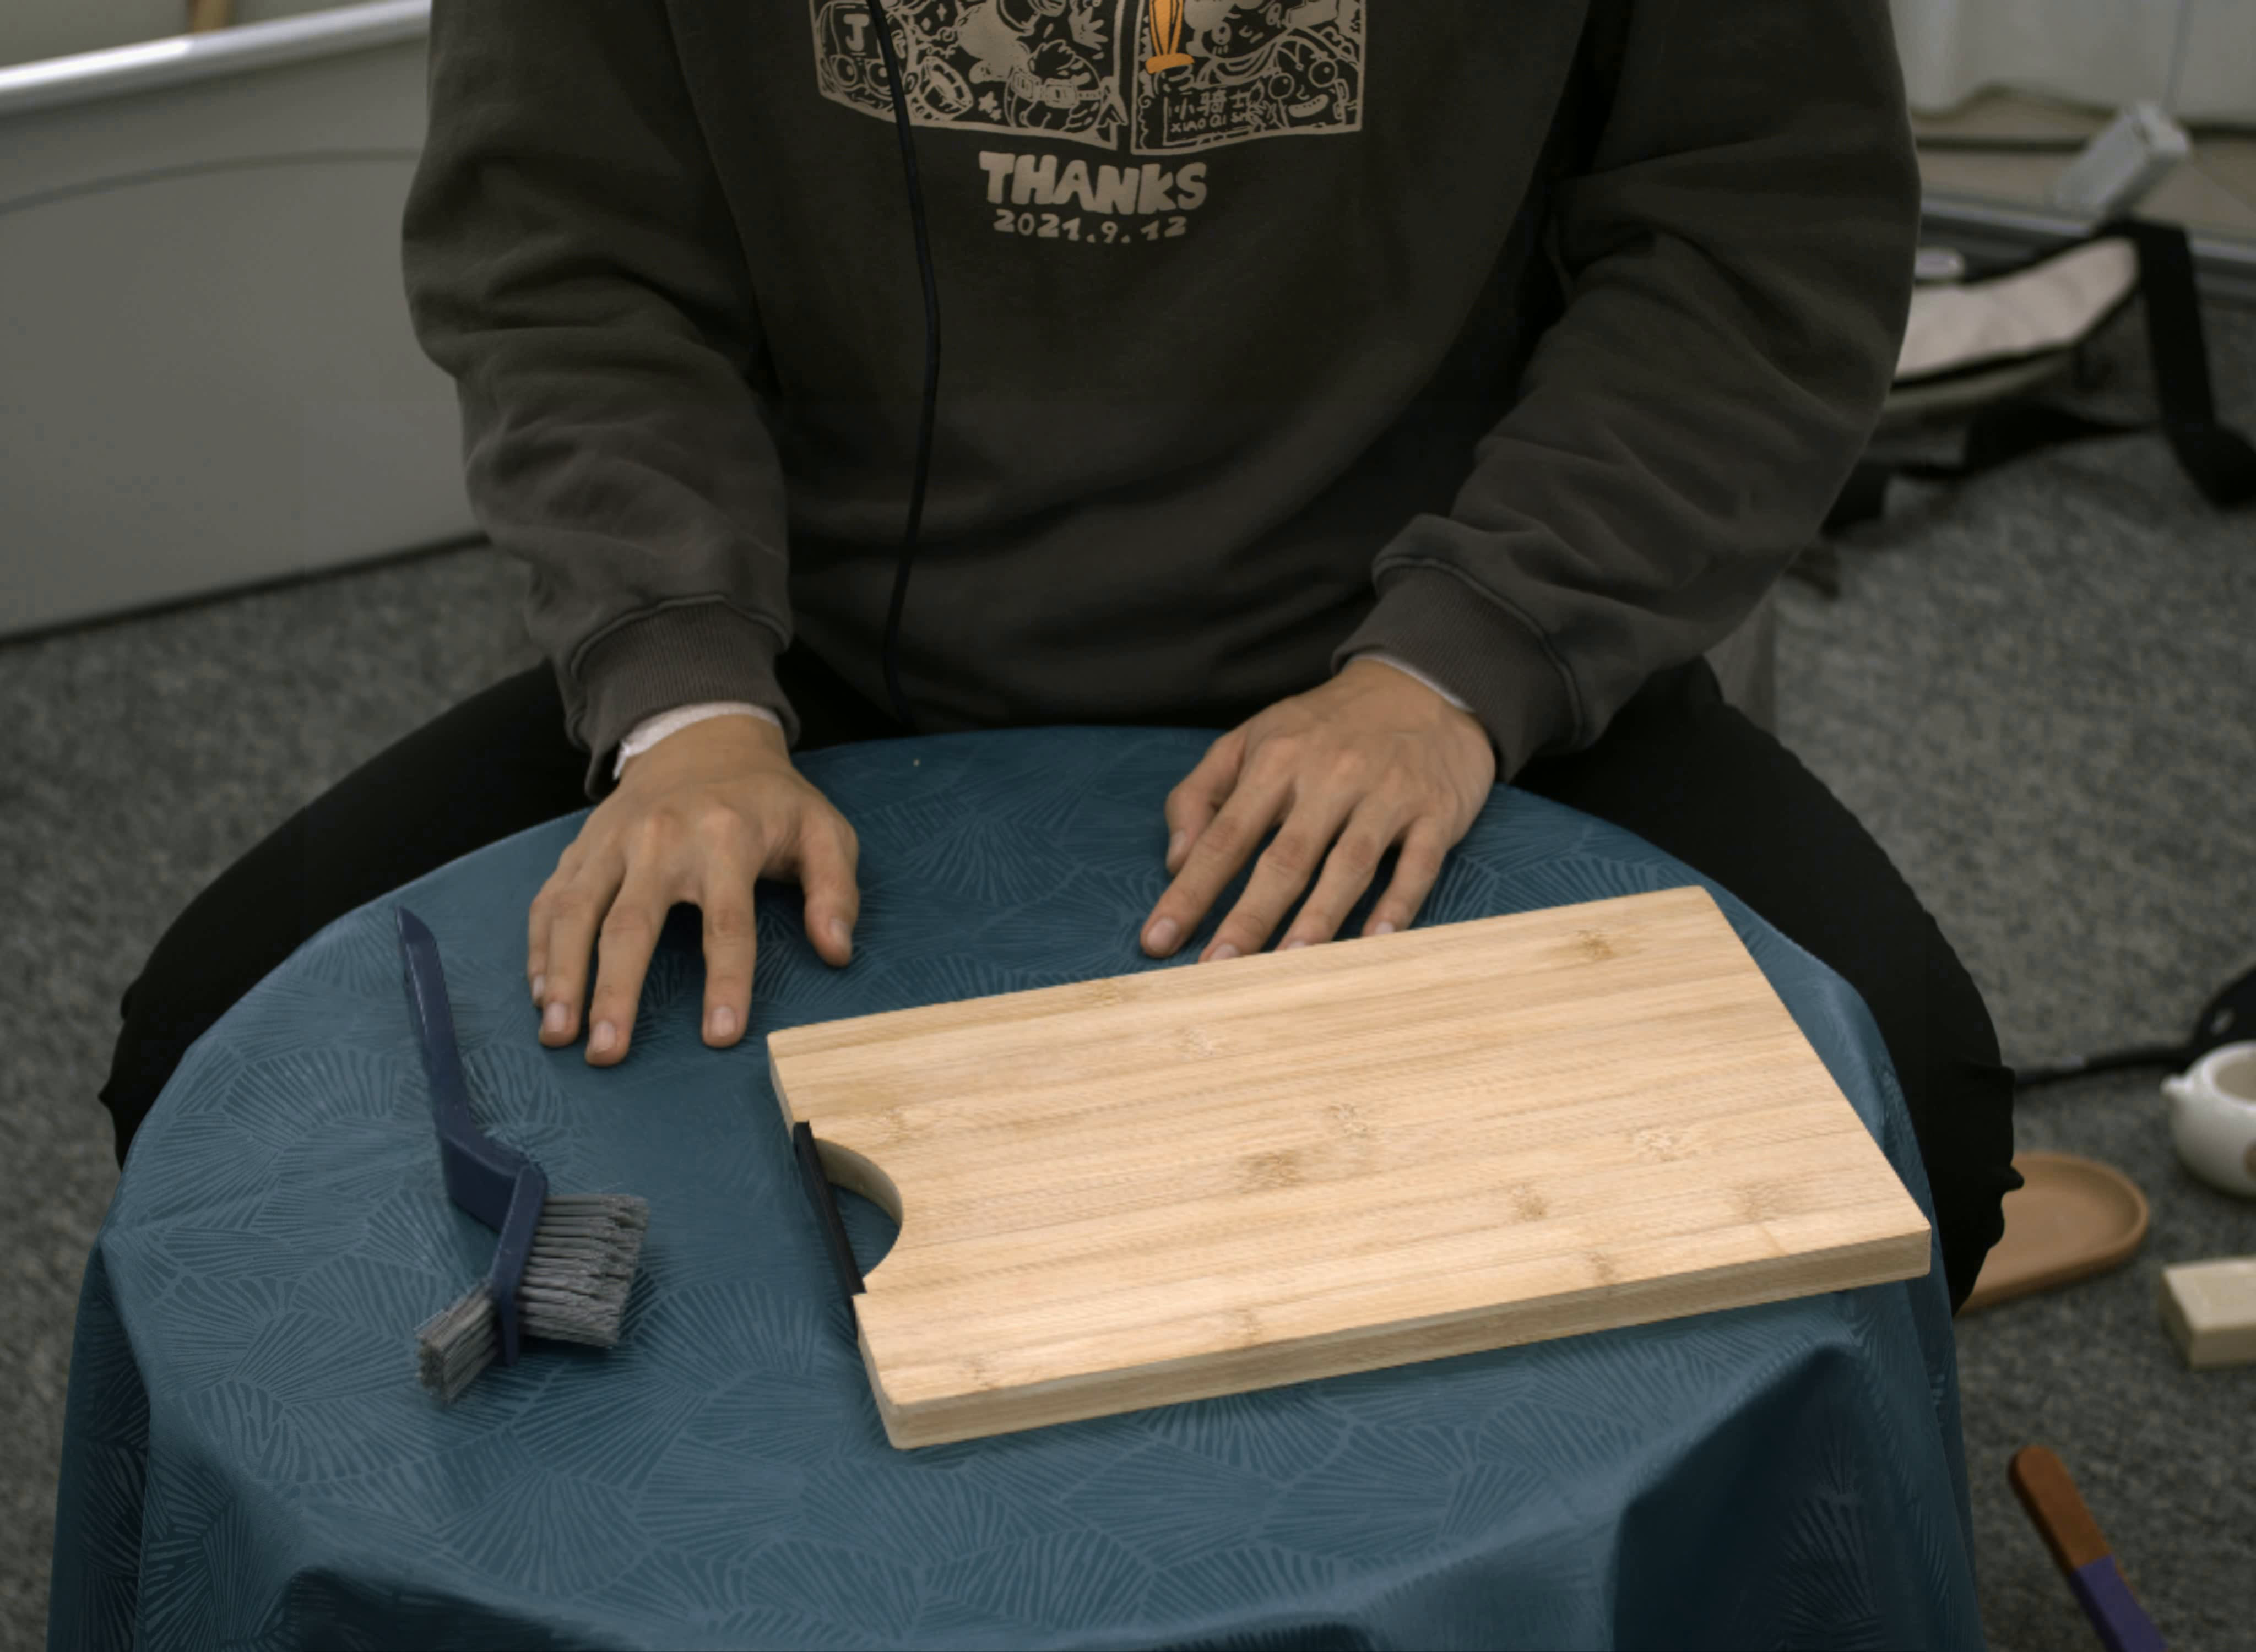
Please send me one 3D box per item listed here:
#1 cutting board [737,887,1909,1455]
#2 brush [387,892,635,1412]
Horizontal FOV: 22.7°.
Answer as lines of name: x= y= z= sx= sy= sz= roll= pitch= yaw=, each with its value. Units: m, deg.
cutting board: x=0.060 y=0.109 z=1.861 sx=0.348 sy=0.023 sz=0.253 roll=-9 pitch=28 yaw=-11
brush: x=-0.231 y=0.104 z=1.883 sx=0.096 sy=0.033 sz=0.275 roll=-12 pitch=30 yaw=-16
